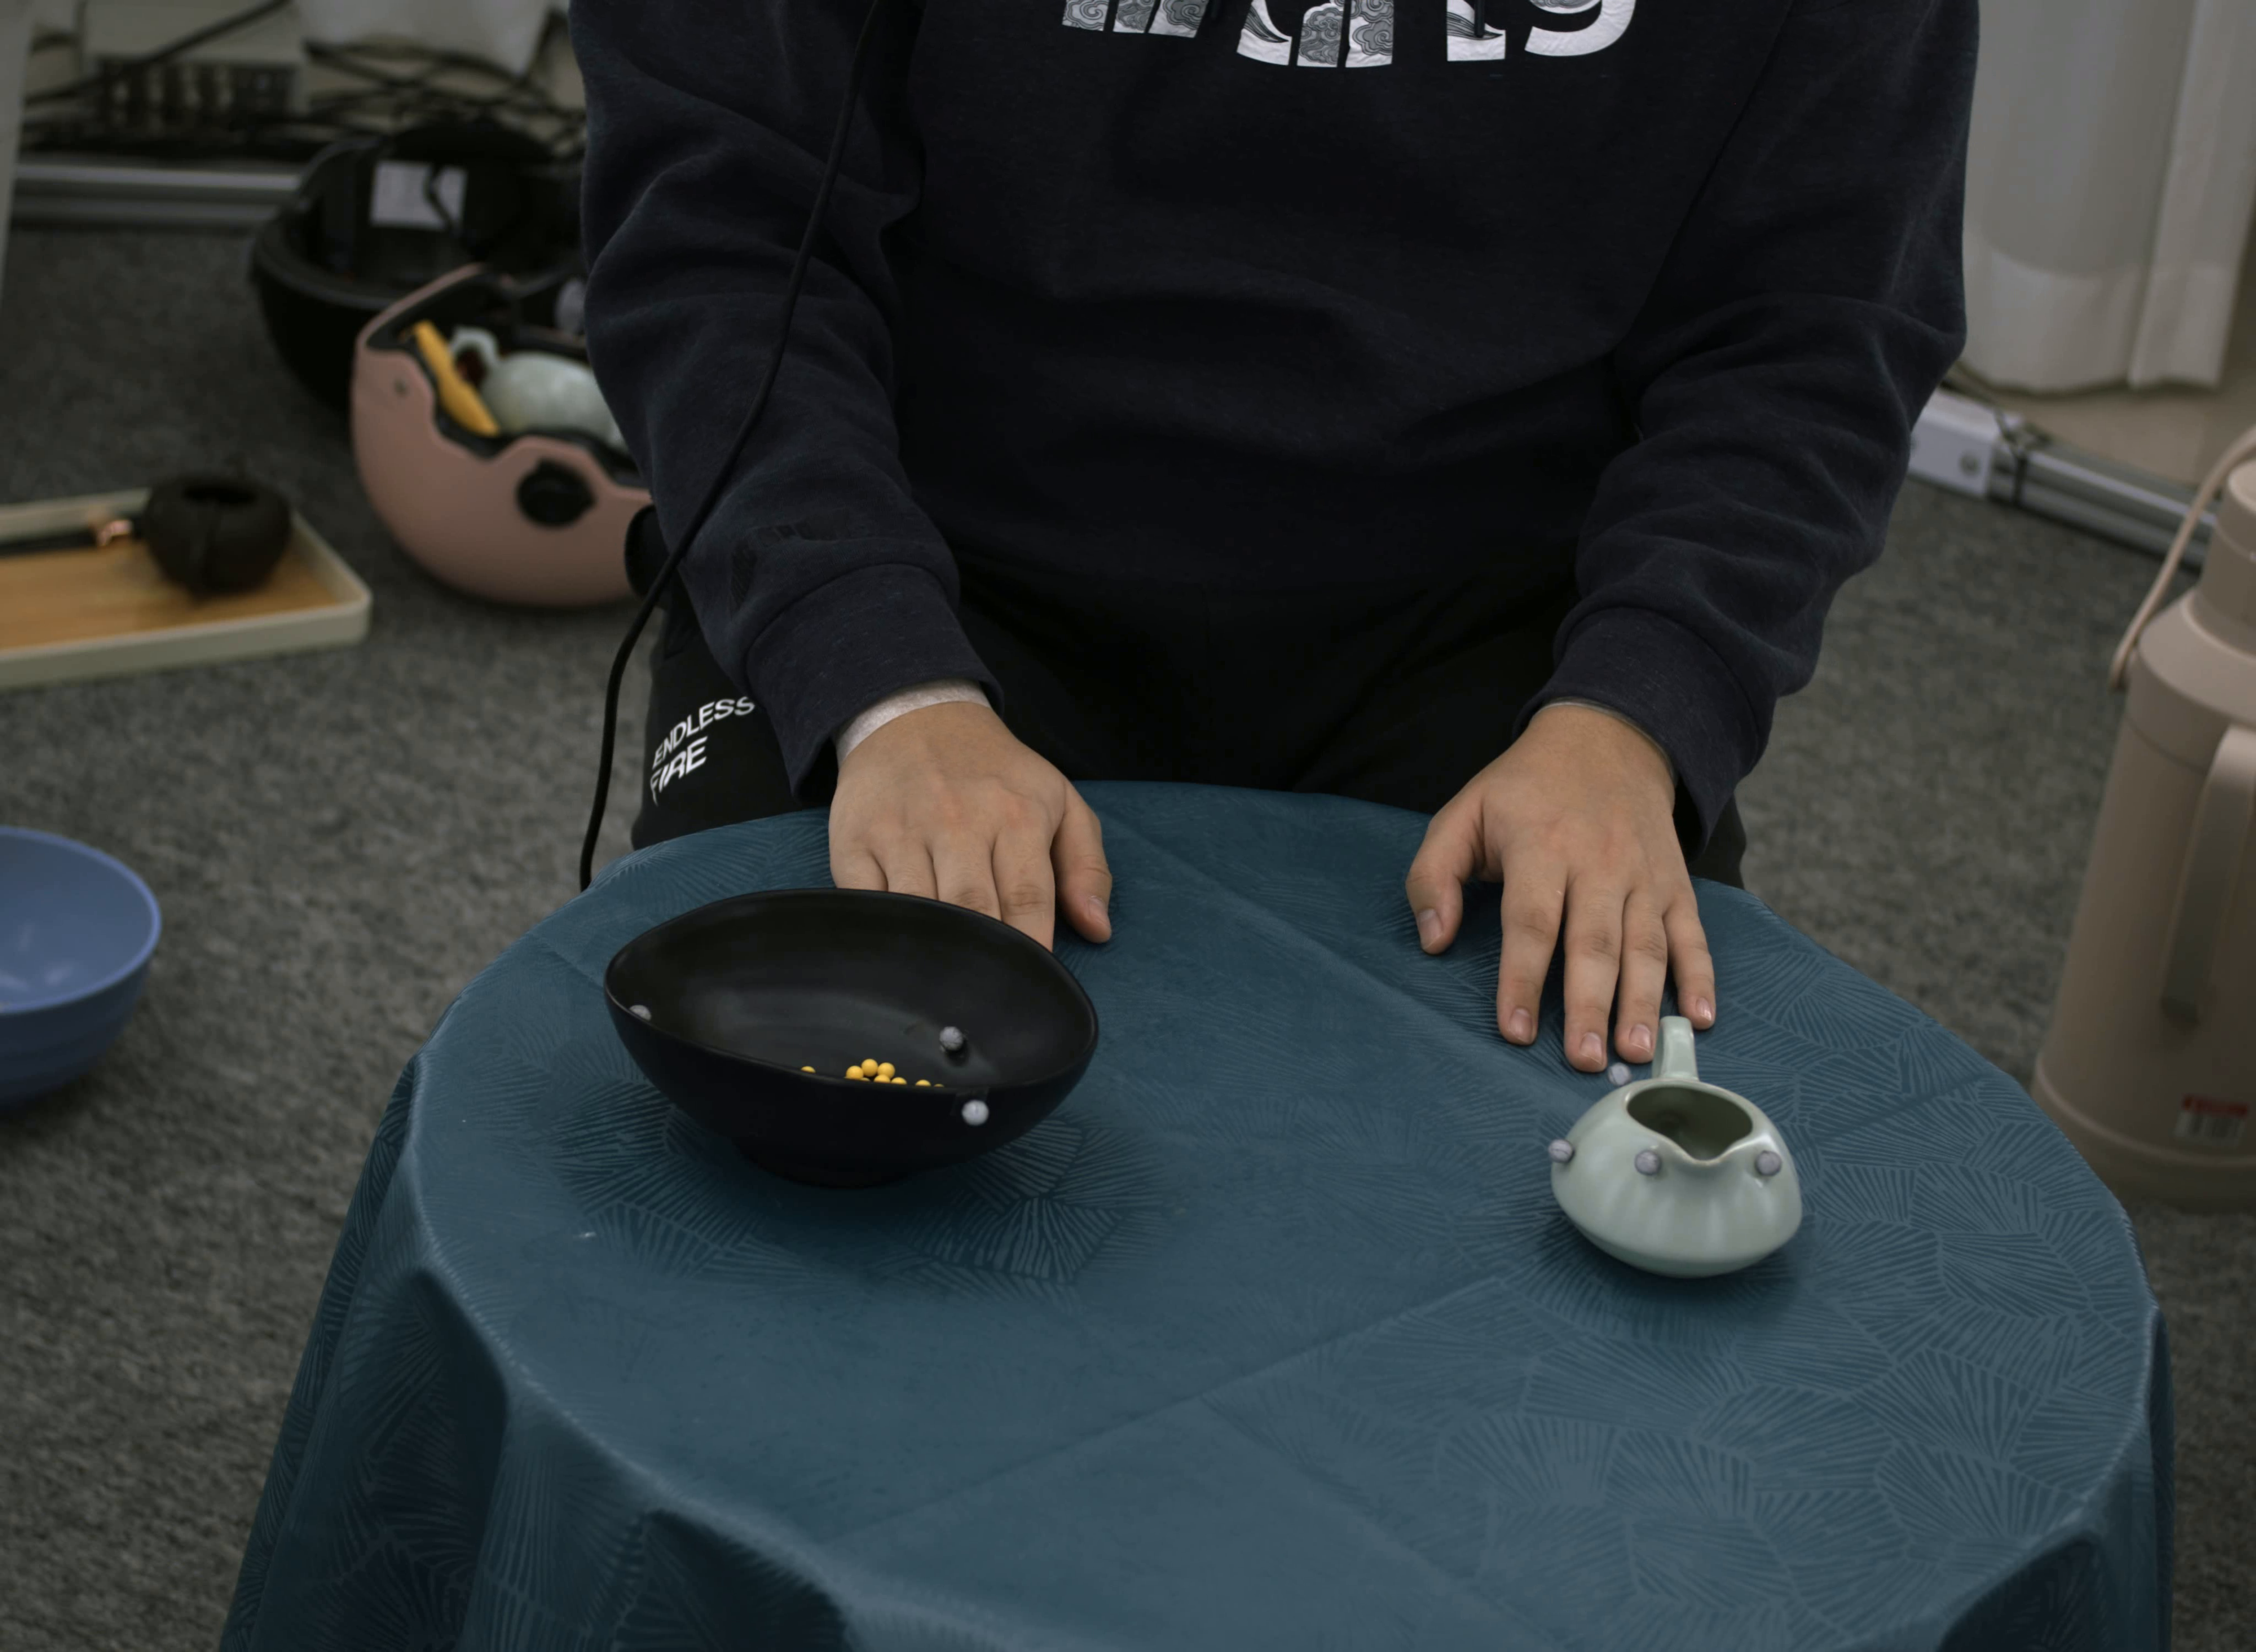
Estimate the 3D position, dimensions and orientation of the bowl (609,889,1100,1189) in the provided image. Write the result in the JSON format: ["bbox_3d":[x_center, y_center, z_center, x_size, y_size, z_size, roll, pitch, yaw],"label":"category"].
[{"bbox_3d":[-0.096,0.080,1.800,0.170,0.066,0.138,11,26,9],"label":"bowl"}]

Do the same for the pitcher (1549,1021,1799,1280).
[{"bbox_3d":[0.186,0.112,1.812,0.085,0.060,0.108,6,24,-5],"label":"pitcher"}]
